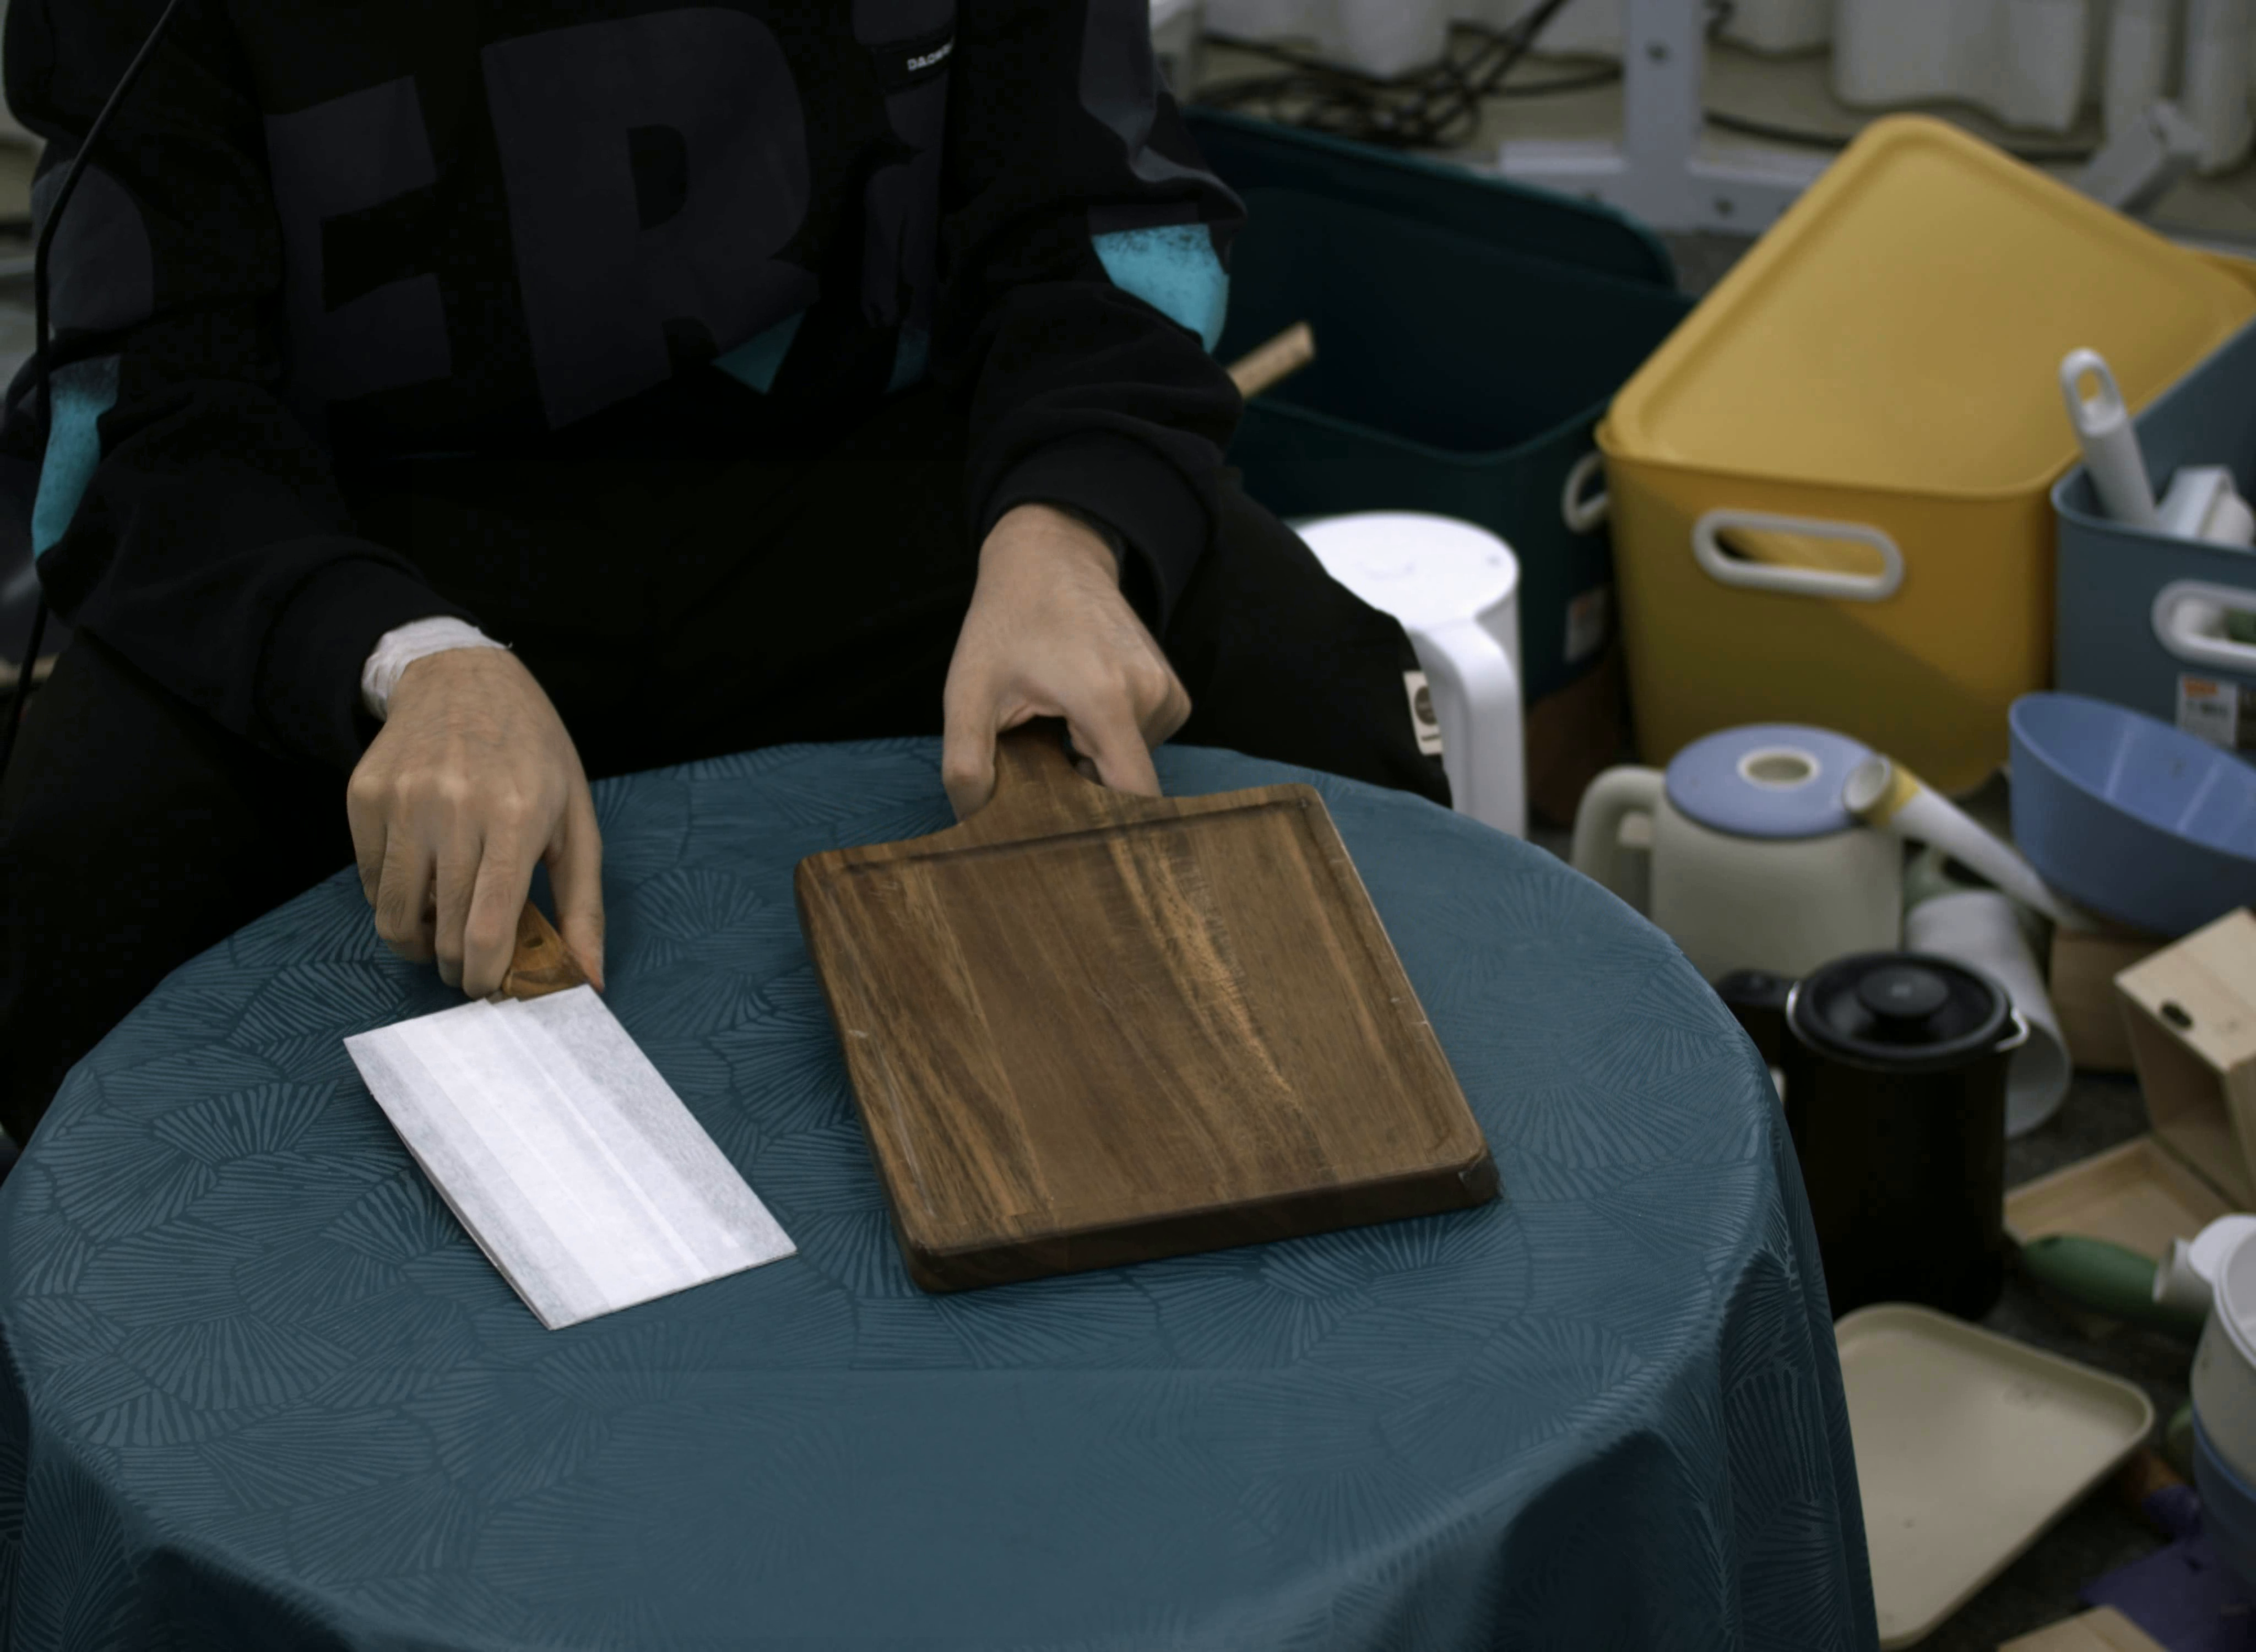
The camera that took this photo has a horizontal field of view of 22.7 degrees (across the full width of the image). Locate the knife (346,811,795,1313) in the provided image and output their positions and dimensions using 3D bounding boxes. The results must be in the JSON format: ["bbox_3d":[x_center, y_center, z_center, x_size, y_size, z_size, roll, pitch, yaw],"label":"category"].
[{"bbox_3d":[-0.215,0.080,1.934,0.093,0.021,0.308,-16,35,-22],"label":"knife"}]

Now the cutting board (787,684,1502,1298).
[{"bbox_3d":[-0.010,0.043,1.968,0.201,0.023,0.357,-8,31,-10],"label":"cutting board"}]
